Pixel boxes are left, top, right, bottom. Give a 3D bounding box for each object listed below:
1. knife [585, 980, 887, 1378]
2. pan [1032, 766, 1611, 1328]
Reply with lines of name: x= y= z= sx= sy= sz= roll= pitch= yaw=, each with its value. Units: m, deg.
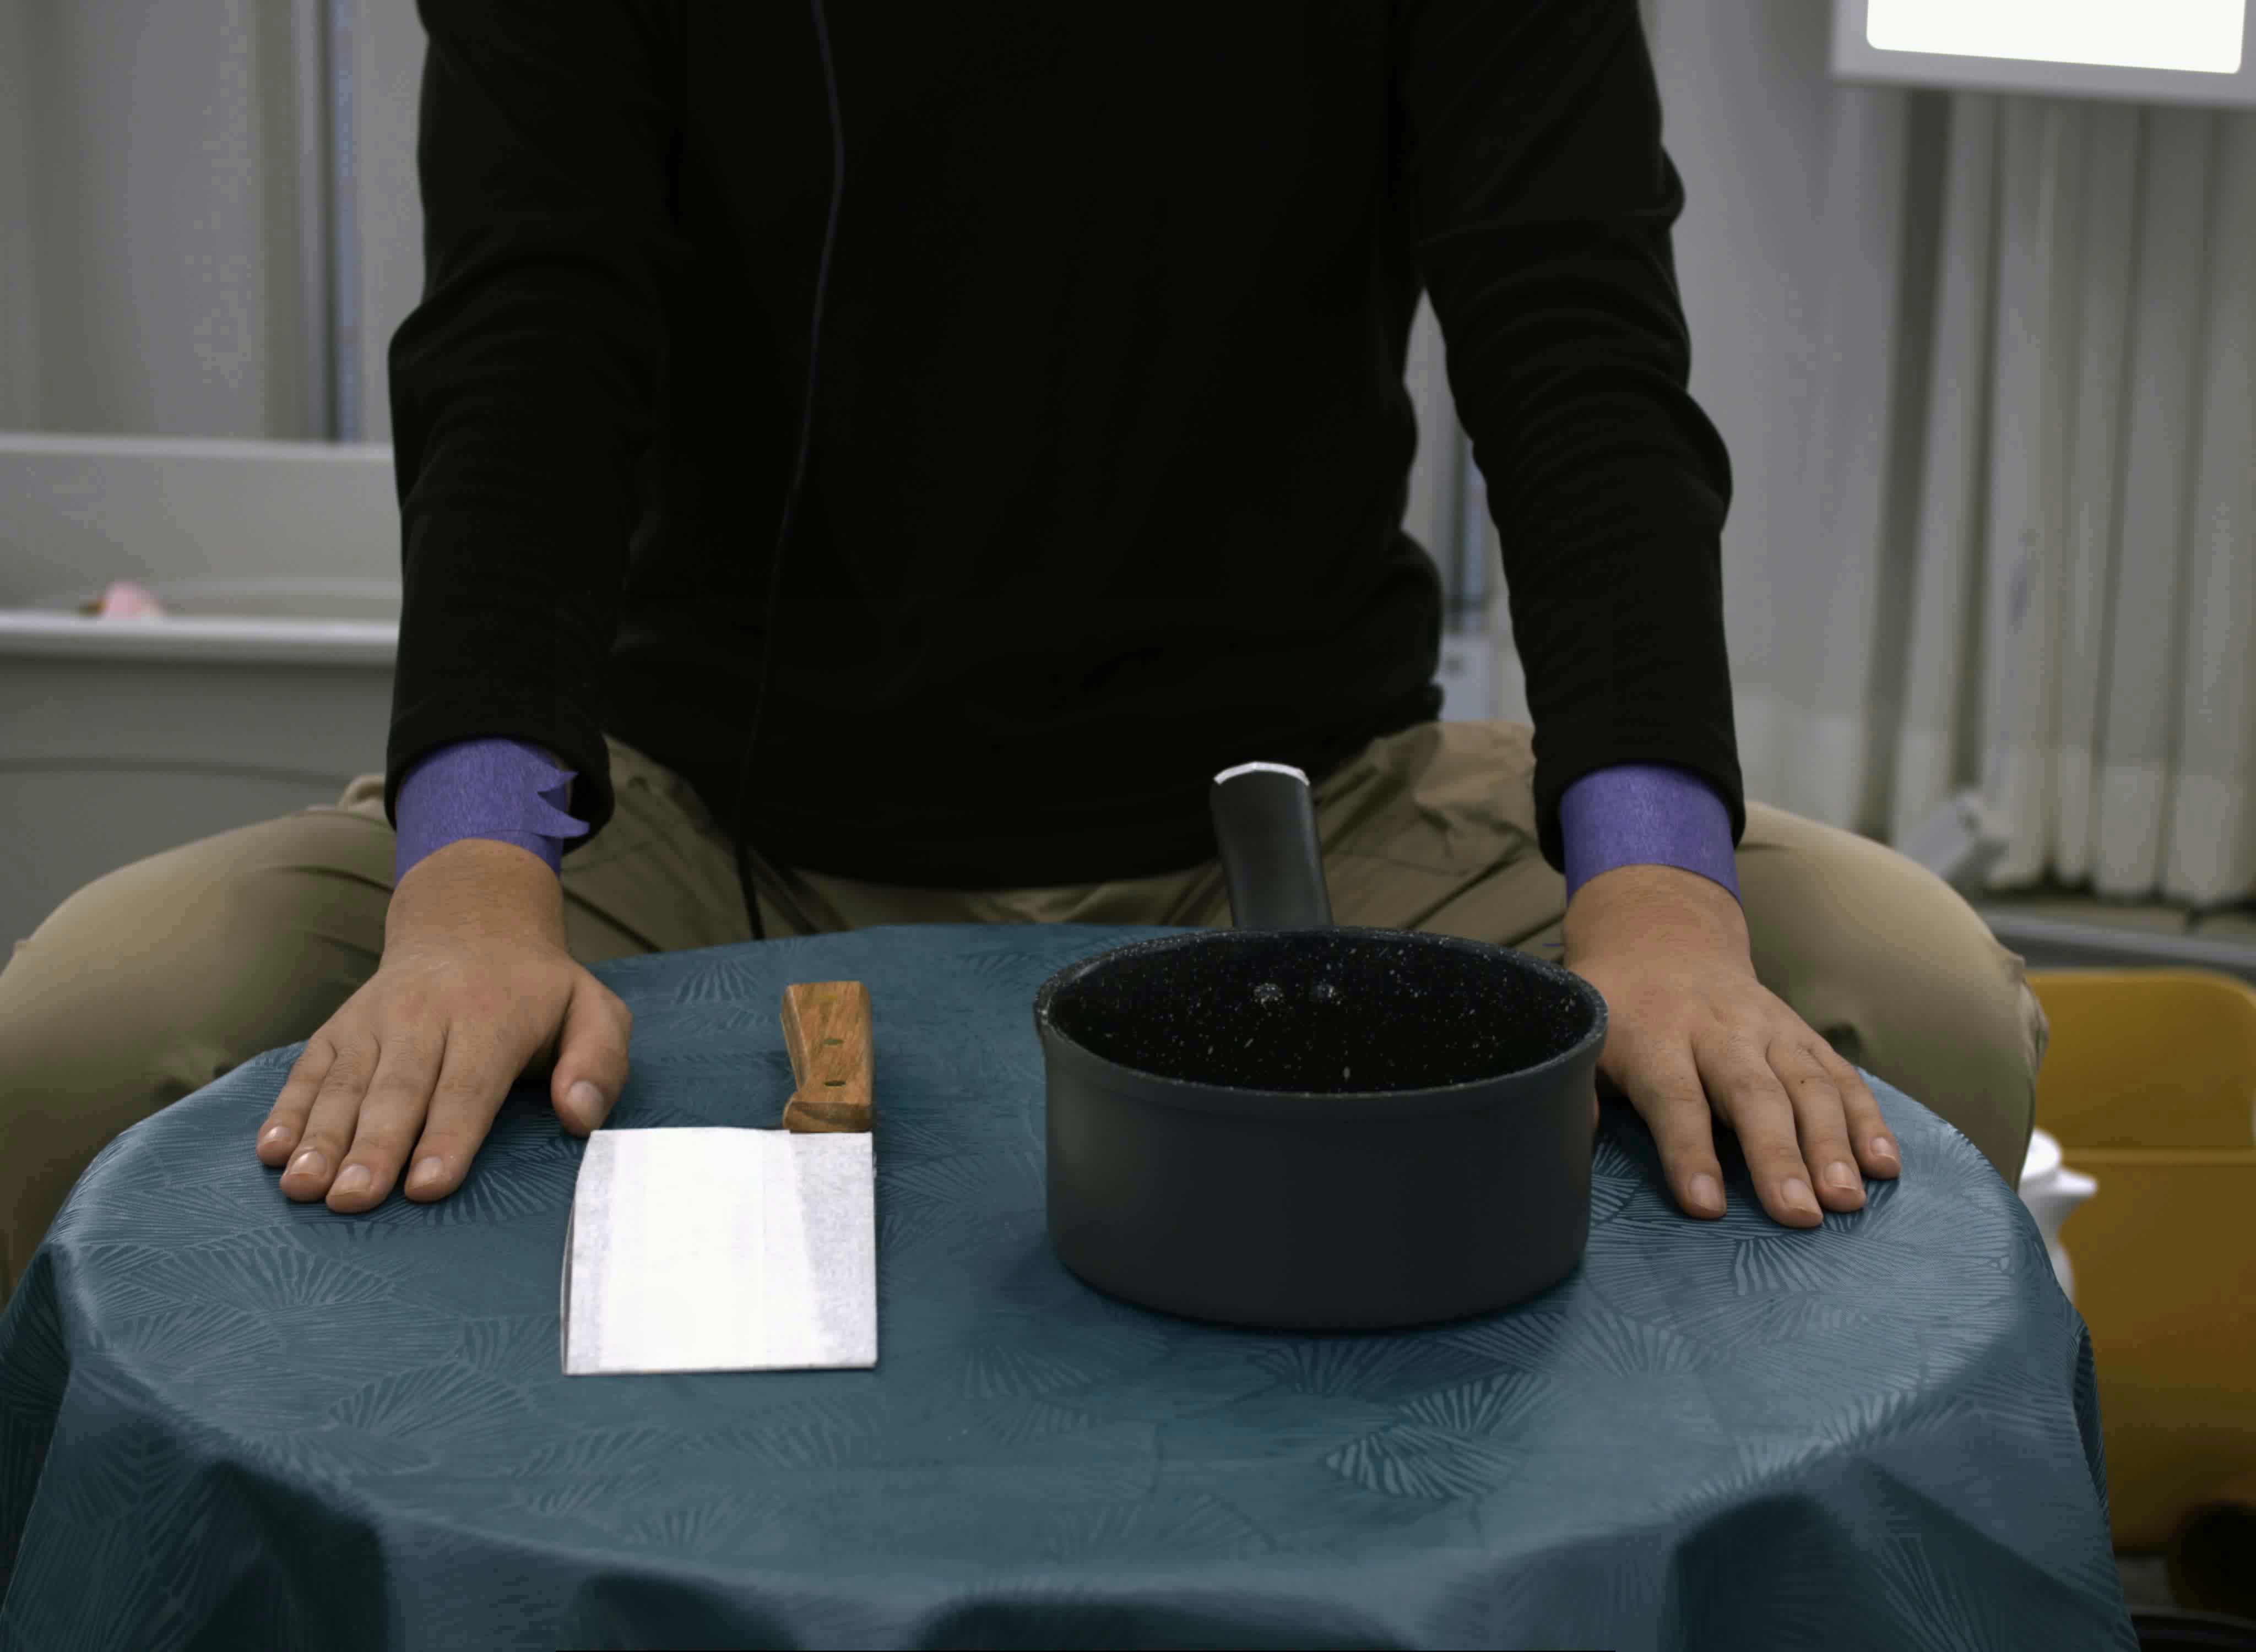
knife: x=-0.120 y=0.106 z=1.613 sx=0.093 sy=0.021 sz=0.303 roll=-1 pitch=18 yaw=-3
pan: x=0.056 y=0.065 z=1.641 sx=0.171 sy=0.087 sz=0.327 roll=1 pitch=16 yaw=-1
